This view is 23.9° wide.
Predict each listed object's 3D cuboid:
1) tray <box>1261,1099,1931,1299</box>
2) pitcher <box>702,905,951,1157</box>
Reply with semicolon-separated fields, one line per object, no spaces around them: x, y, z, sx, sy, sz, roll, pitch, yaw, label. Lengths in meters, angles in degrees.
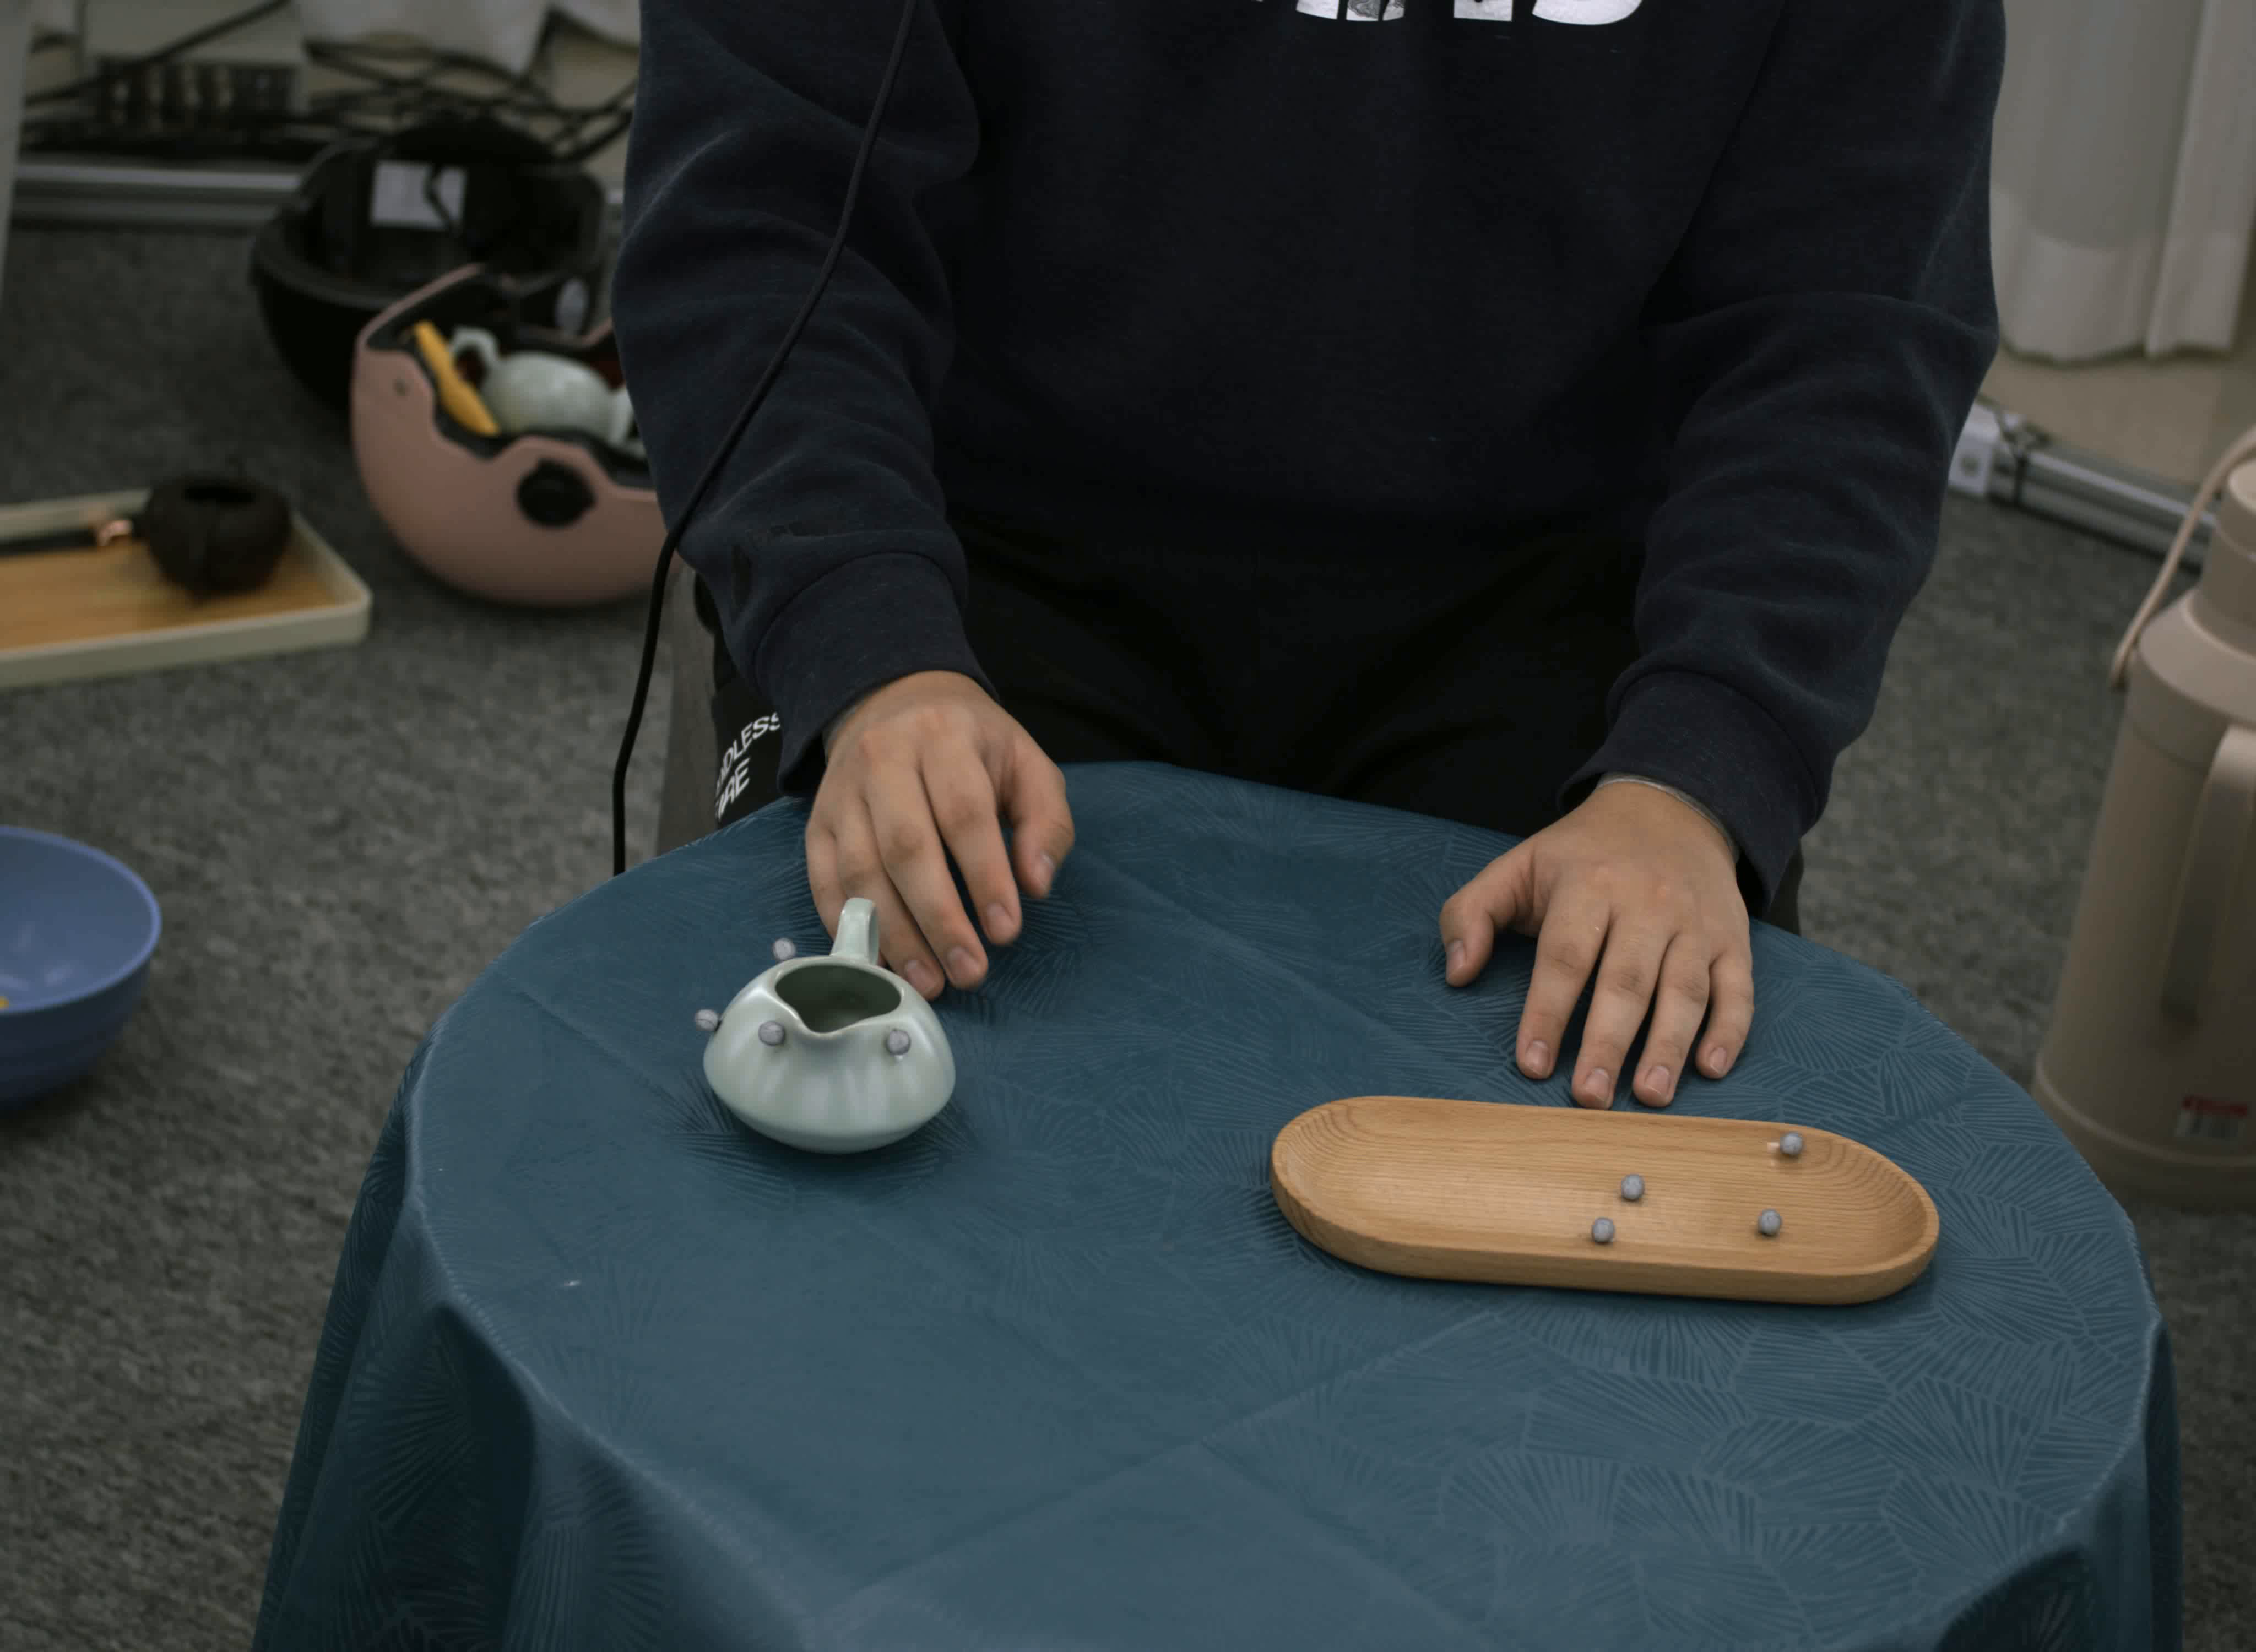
0.160;0.128;1.818;0.230;0.020;0.102;2;25;-5;tray
-0.101;0.071;1.824;0.086;0.060;0.108;9;24;1;pitcher
